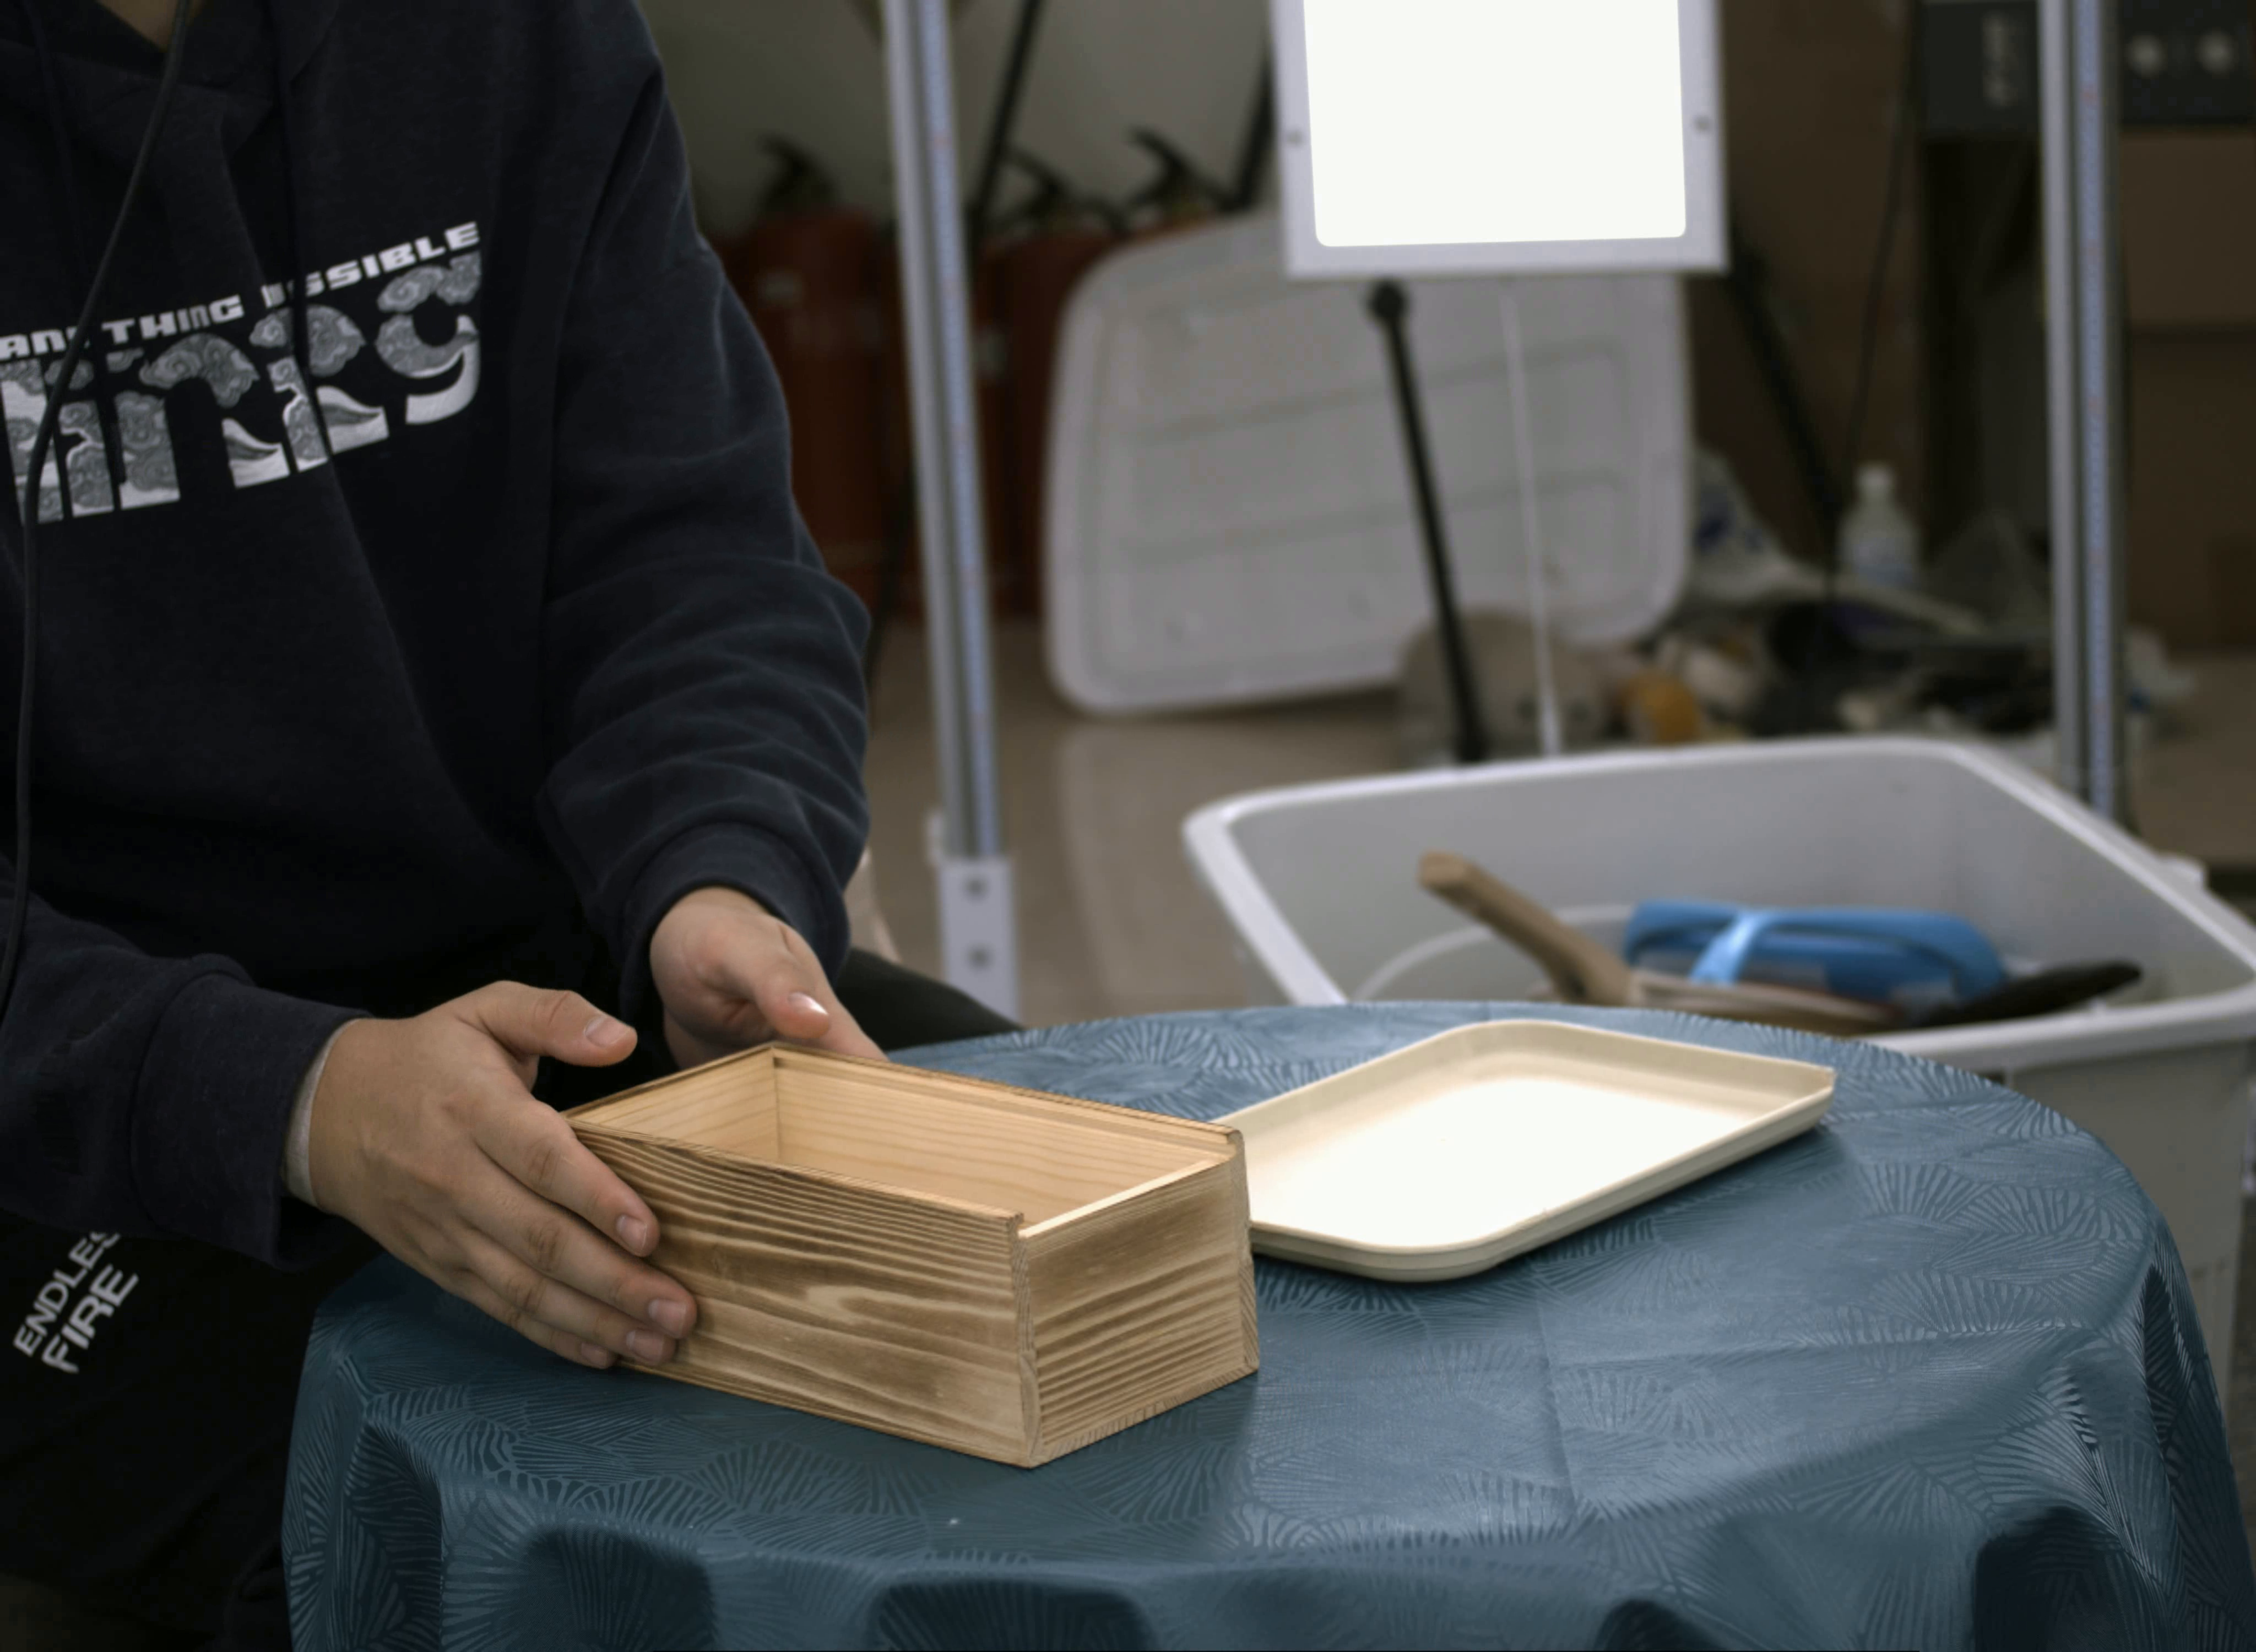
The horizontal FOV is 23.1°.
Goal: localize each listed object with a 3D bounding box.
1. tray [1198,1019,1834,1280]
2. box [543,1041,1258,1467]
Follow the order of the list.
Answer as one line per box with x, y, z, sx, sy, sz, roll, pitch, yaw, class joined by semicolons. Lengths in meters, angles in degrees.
0.118;0.110;1.888;0.175;0.017;0.233;7;18;44;tray
-0.073;0.131;1.736;0.216;0.080;0.105;8;18;43;box
